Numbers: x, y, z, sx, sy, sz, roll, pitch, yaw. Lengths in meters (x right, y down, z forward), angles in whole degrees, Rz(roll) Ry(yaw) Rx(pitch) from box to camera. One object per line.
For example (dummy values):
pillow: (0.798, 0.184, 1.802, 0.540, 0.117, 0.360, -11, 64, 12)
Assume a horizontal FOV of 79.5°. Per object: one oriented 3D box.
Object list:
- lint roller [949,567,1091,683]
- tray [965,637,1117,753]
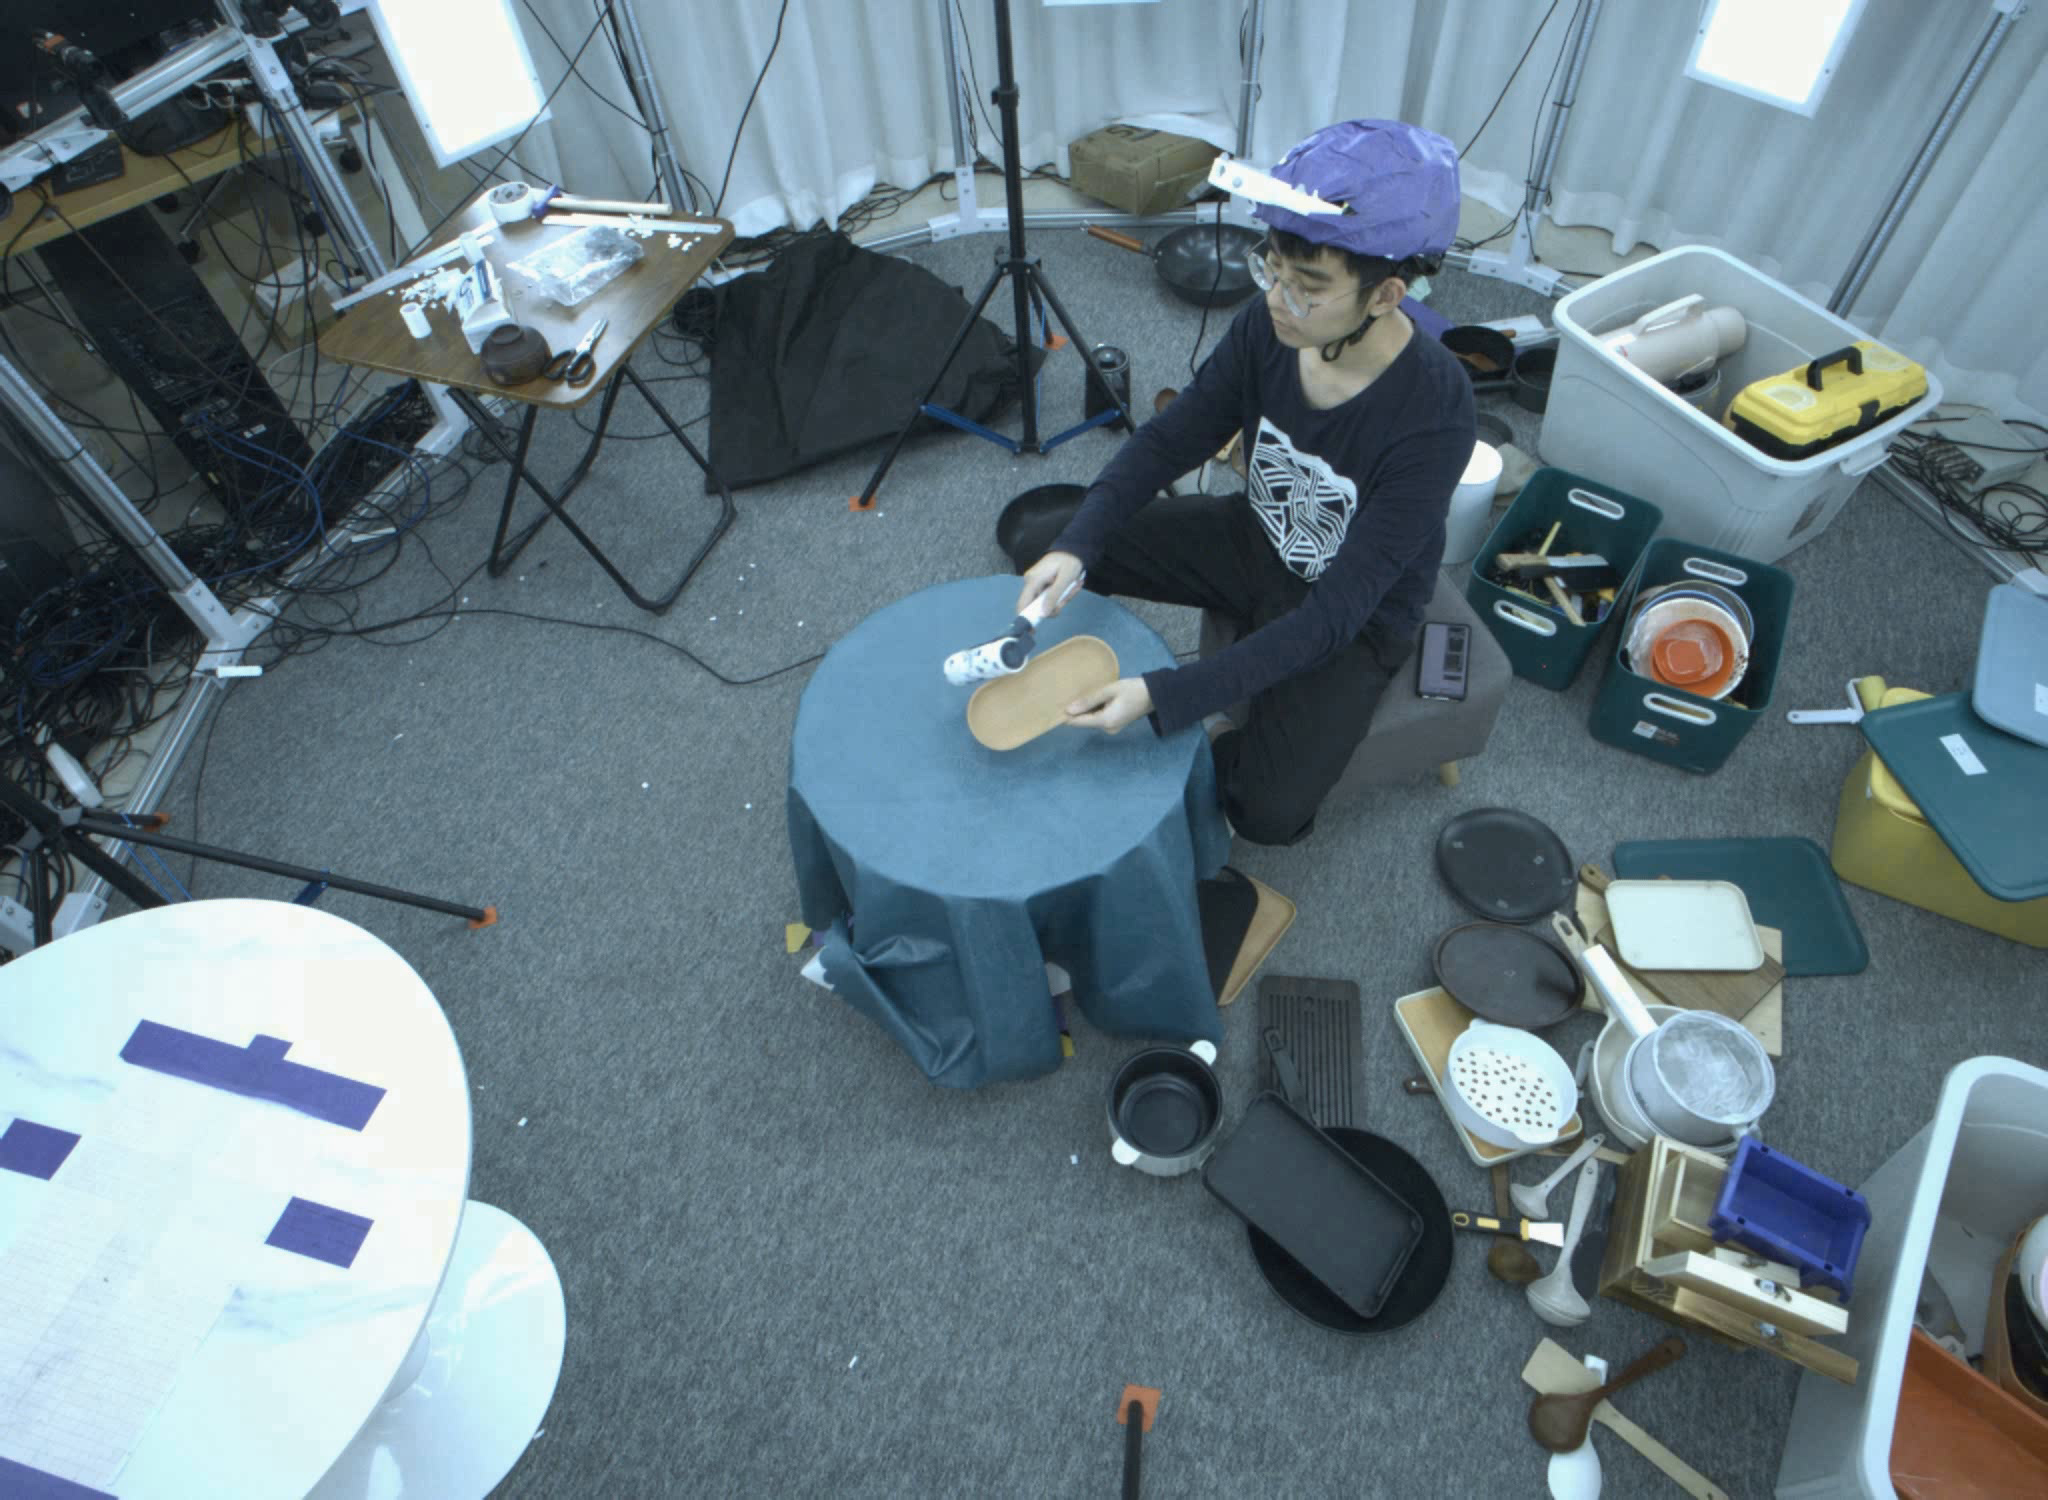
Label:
lint roller: (0.011, -0.194, 1.780, 0.248, 0.173, 0.051, -47, 108, -27)
tray: (0.024, -0.078, 1.741, 0.232, 0.020, 0.102, -29, 100, -6)
